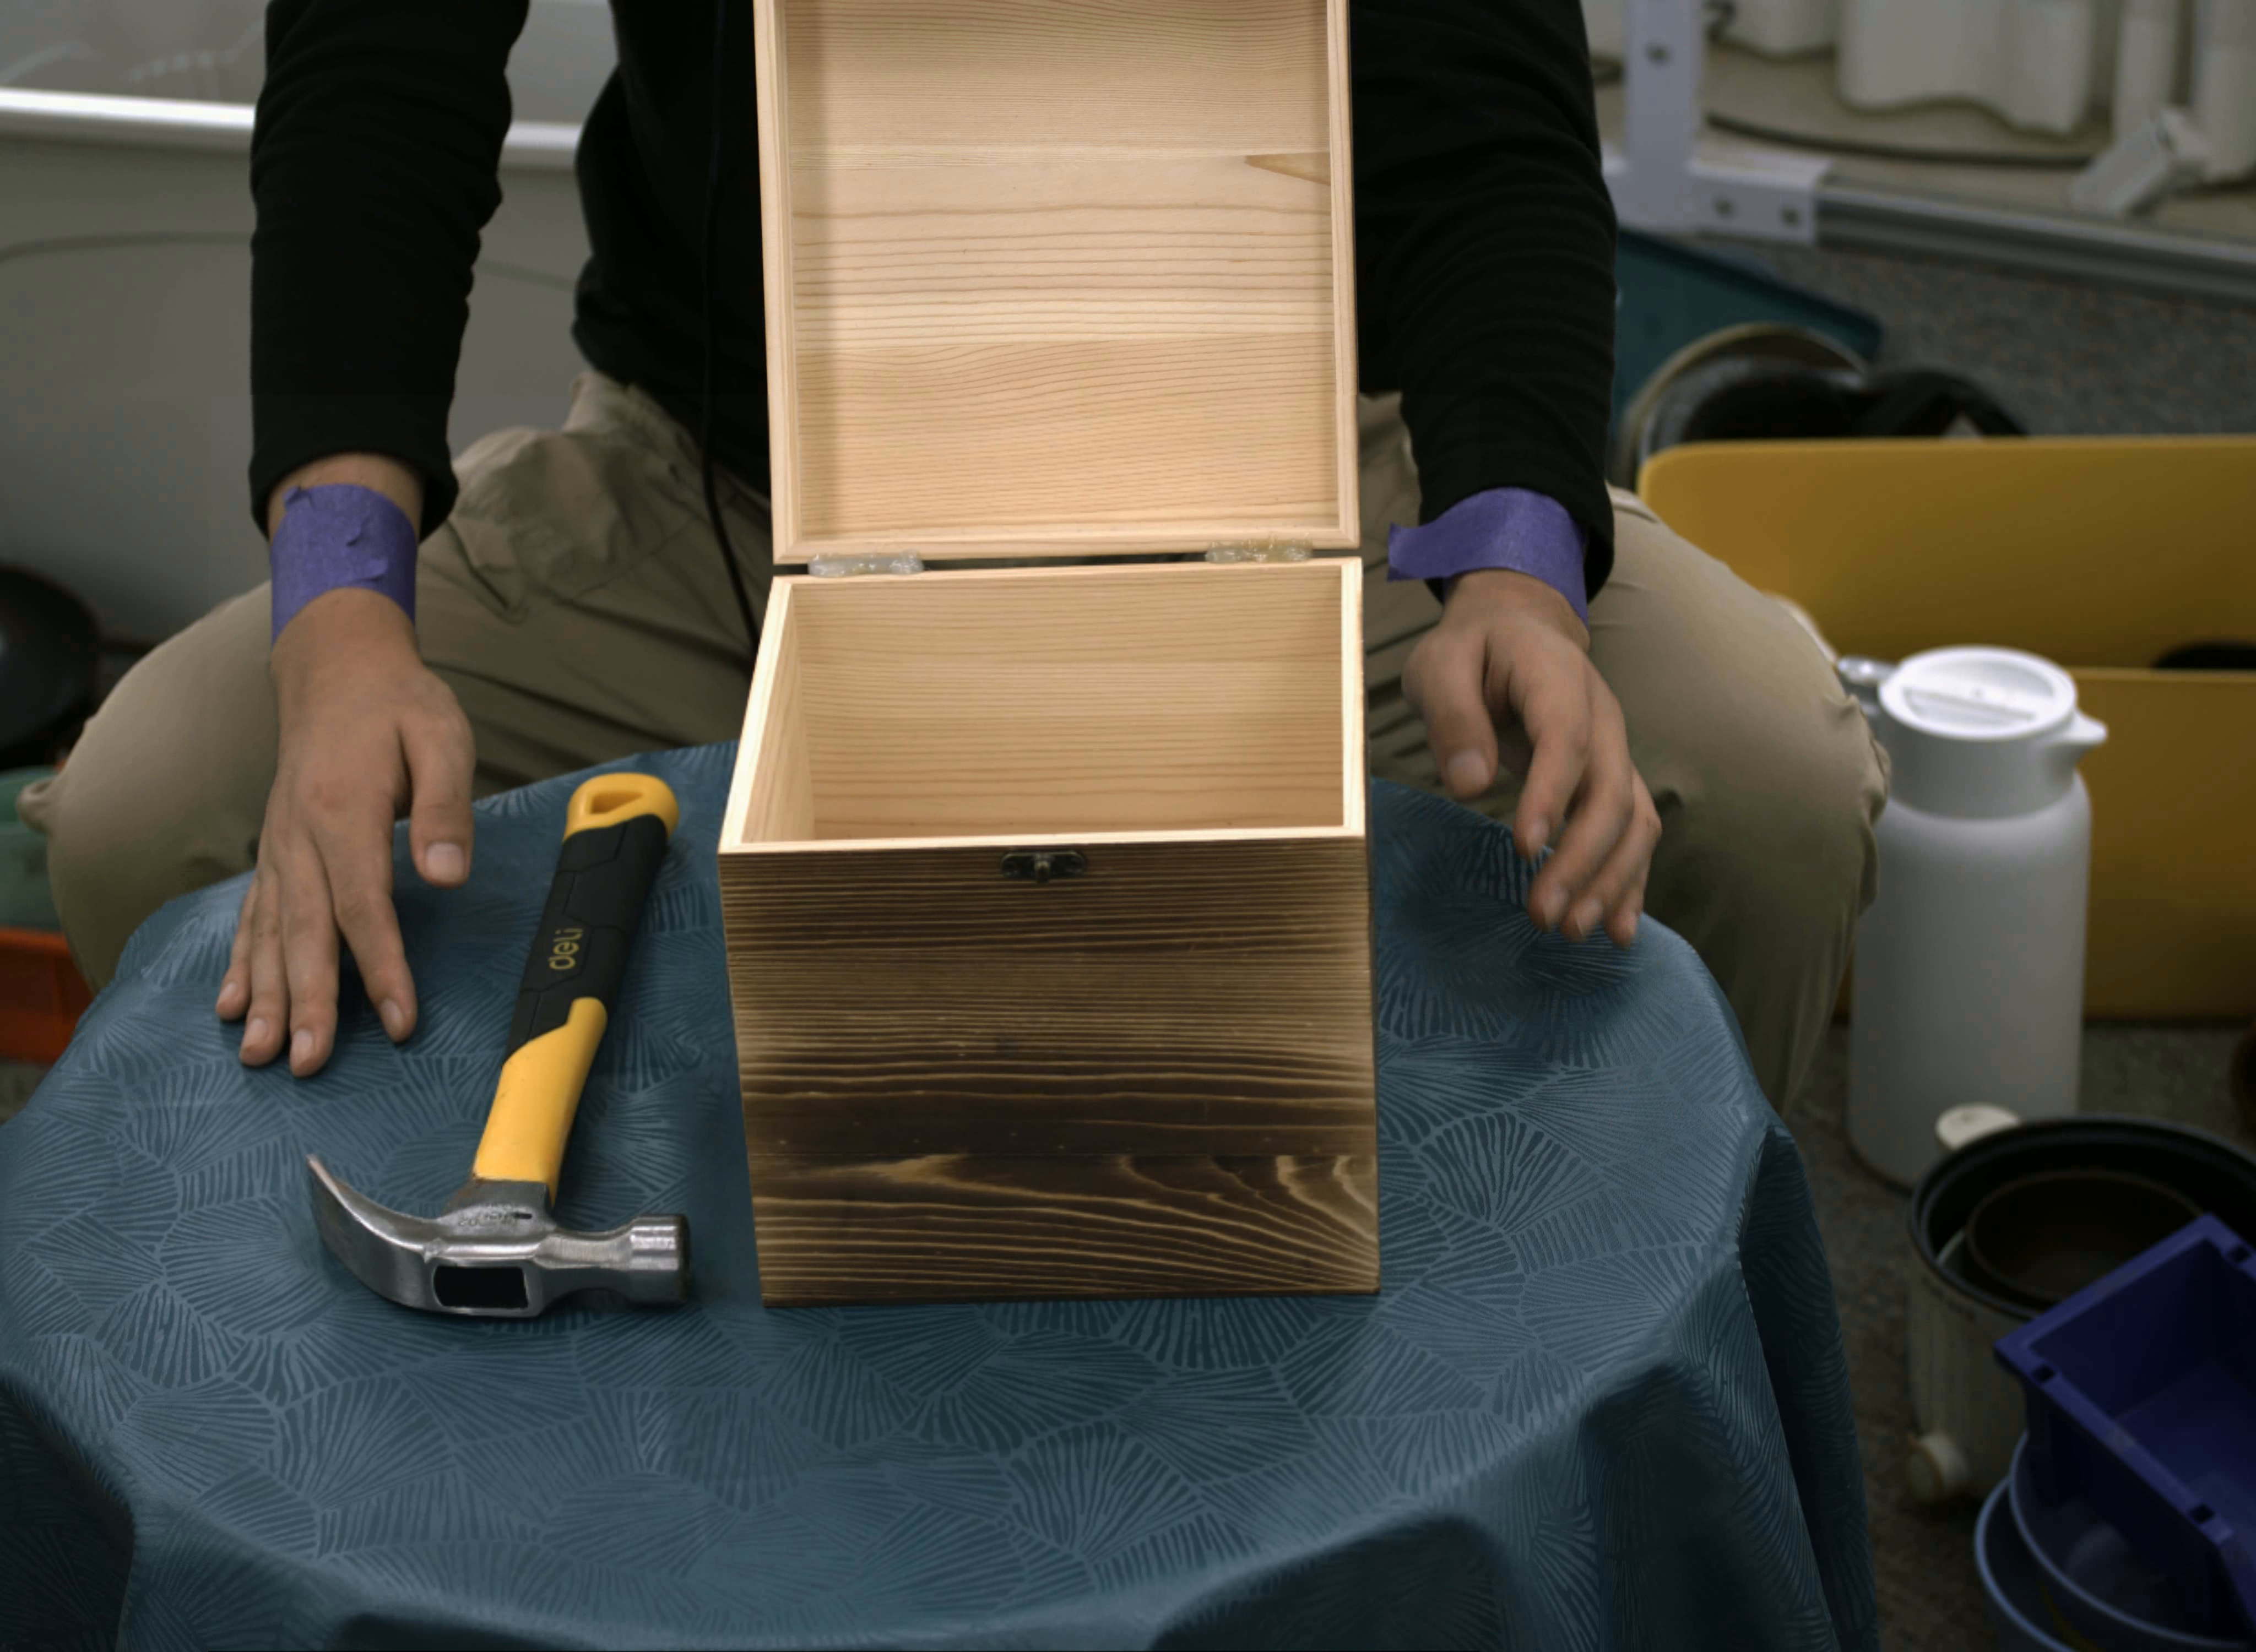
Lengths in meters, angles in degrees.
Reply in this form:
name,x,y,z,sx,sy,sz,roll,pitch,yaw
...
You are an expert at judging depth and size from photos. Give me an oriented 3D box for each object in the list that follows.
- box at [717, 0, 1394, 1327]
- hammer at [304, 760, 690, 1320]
name,x,y,z,sx,sy,sz,roll,pitch,yaw
box,-0.024,-0.075,1.859,0.207,0.372,0.327,-2,25,3
hammer,-0.197,0.066,1.945,0.130,0.032,0.344,-1,28,5
